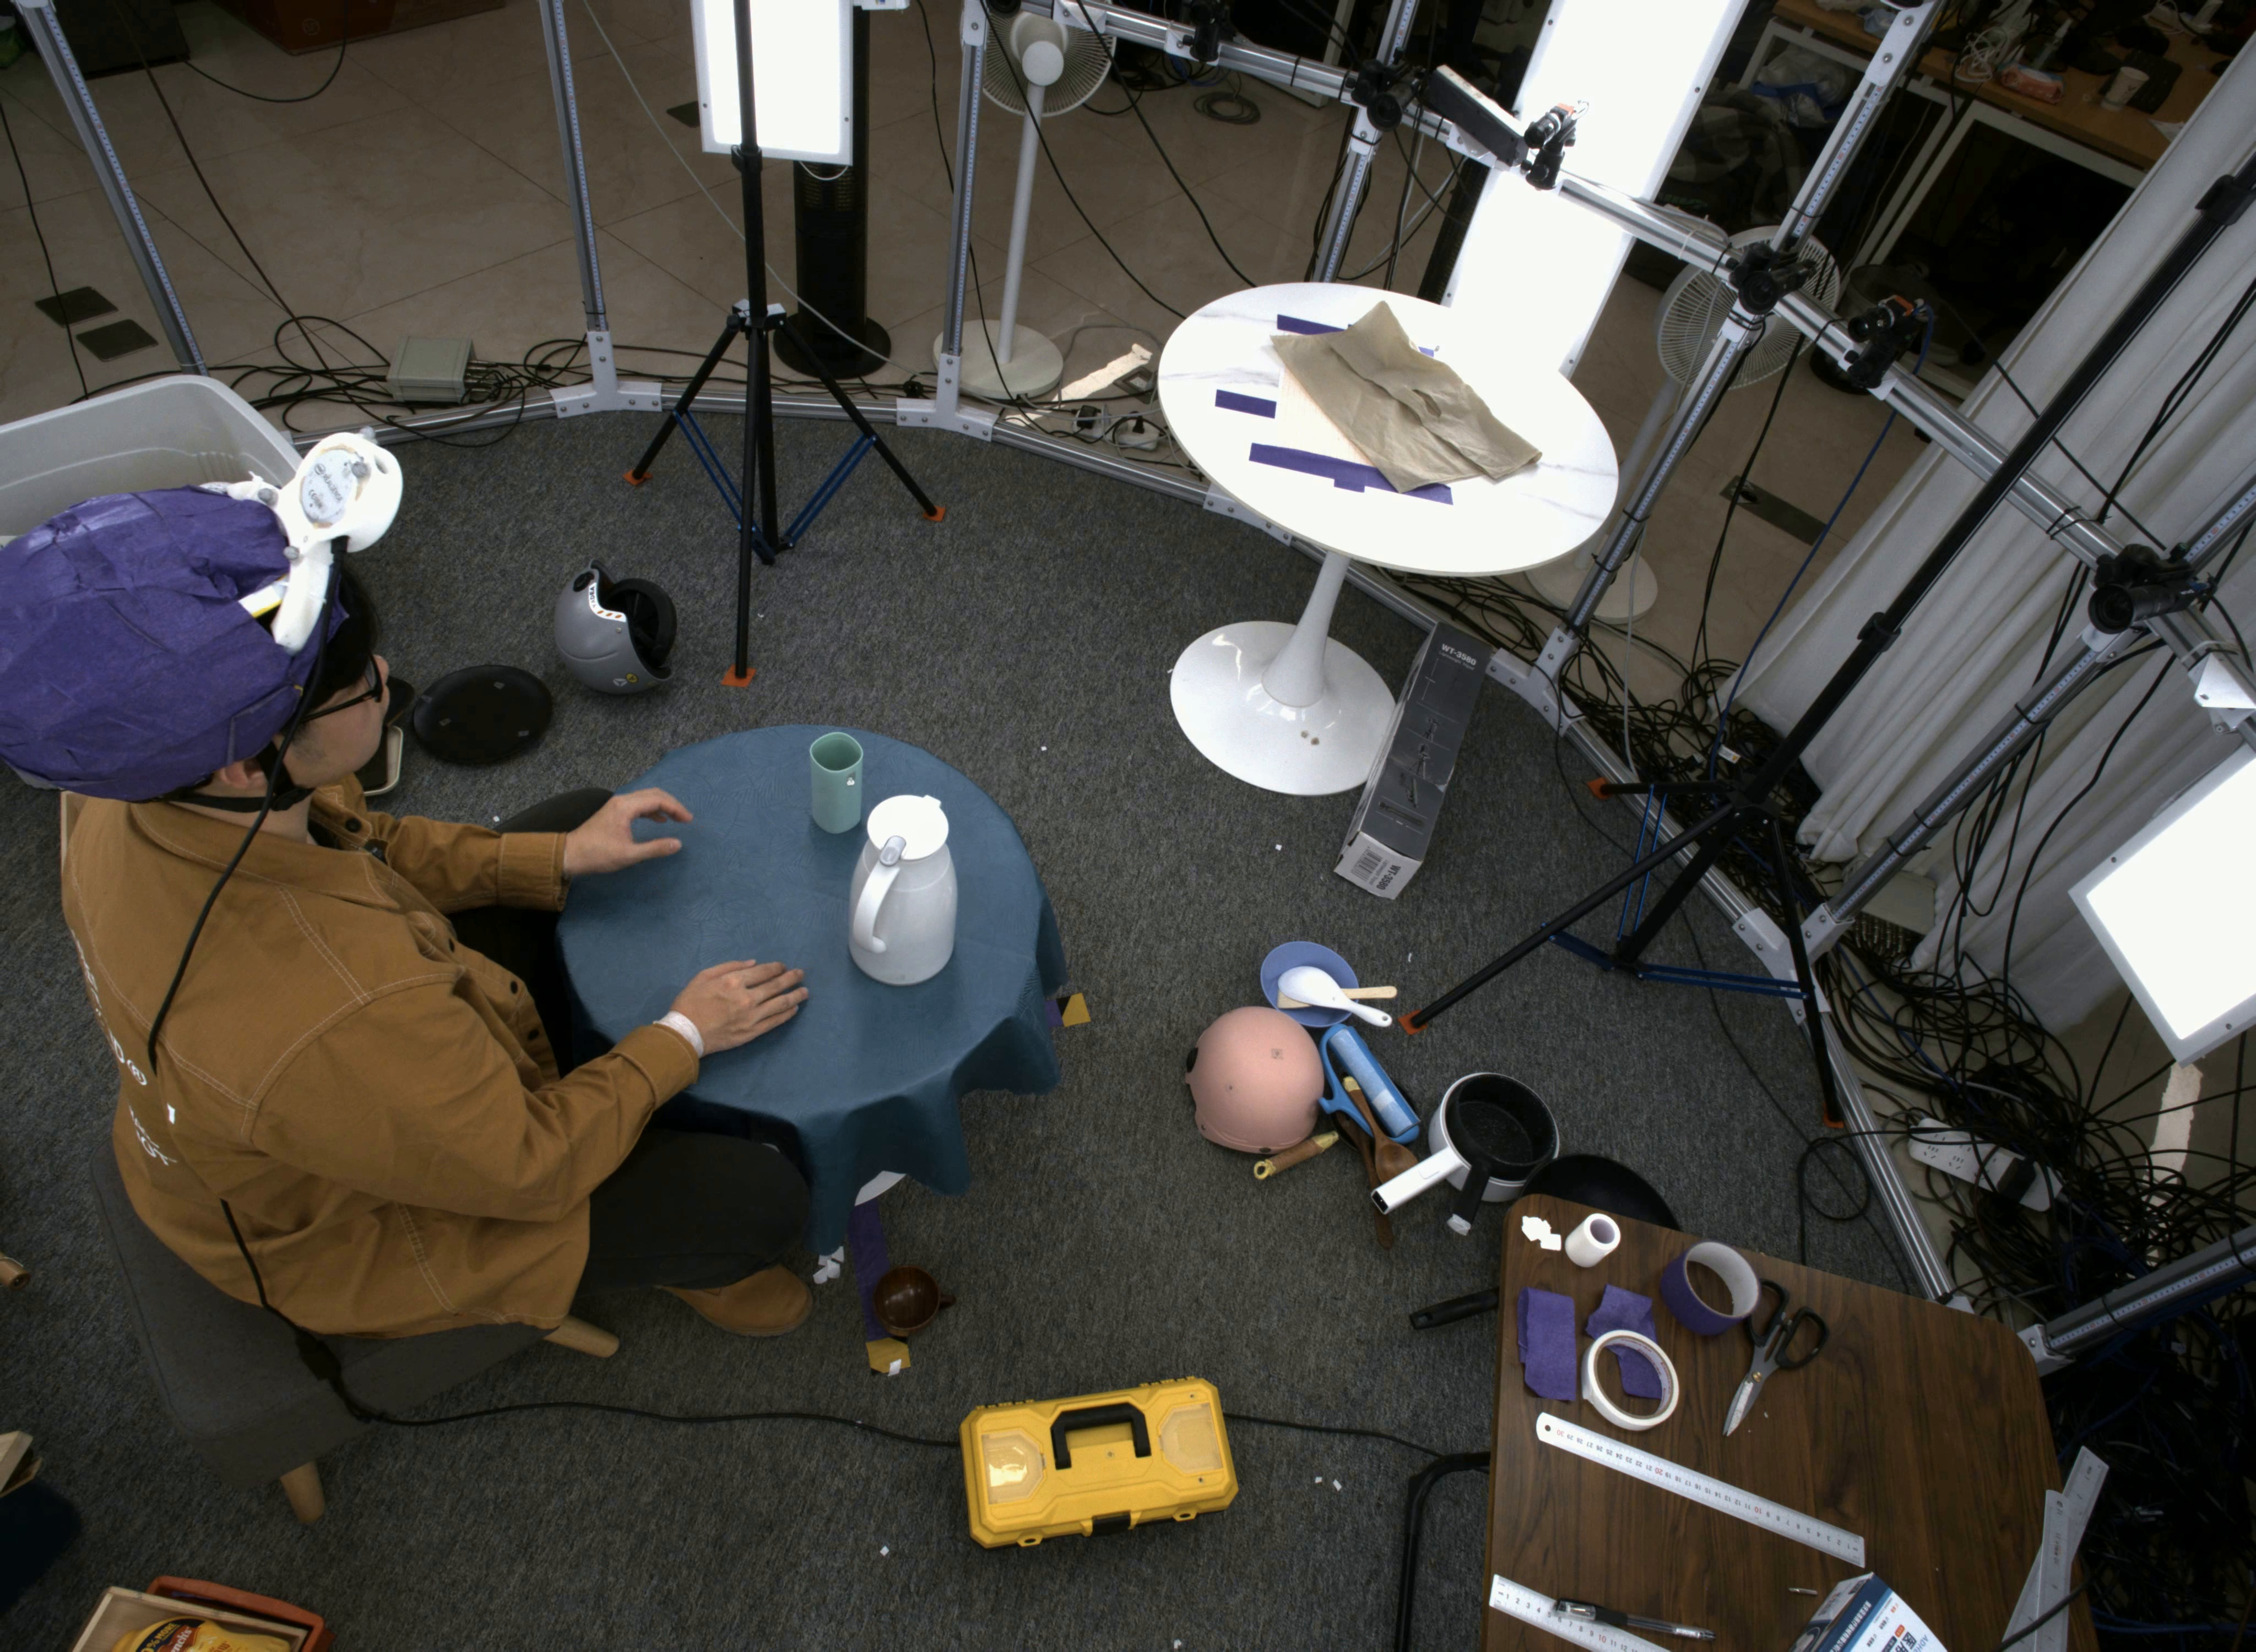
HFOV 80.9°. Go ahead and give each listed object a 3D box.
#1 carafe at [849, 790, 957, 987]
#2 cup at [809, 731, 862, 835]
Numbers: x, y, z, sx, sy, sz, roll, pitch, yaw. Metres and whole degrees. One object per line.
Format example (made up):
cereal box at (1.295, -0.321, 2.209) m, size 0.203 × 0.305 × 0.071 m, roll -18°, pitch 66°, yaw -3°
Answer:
carafe at (-0.273, 0.081, 1.540) m, size 0.131 × 0.254 × 0.166 m, roll 22°, pitch 52°, yaw 6°
cup at (-0.382, -0.055, 1.693) m, size 0.066 × 0.135 × 0.065 m, roll 6°, pitch 51°, yaw -6°
